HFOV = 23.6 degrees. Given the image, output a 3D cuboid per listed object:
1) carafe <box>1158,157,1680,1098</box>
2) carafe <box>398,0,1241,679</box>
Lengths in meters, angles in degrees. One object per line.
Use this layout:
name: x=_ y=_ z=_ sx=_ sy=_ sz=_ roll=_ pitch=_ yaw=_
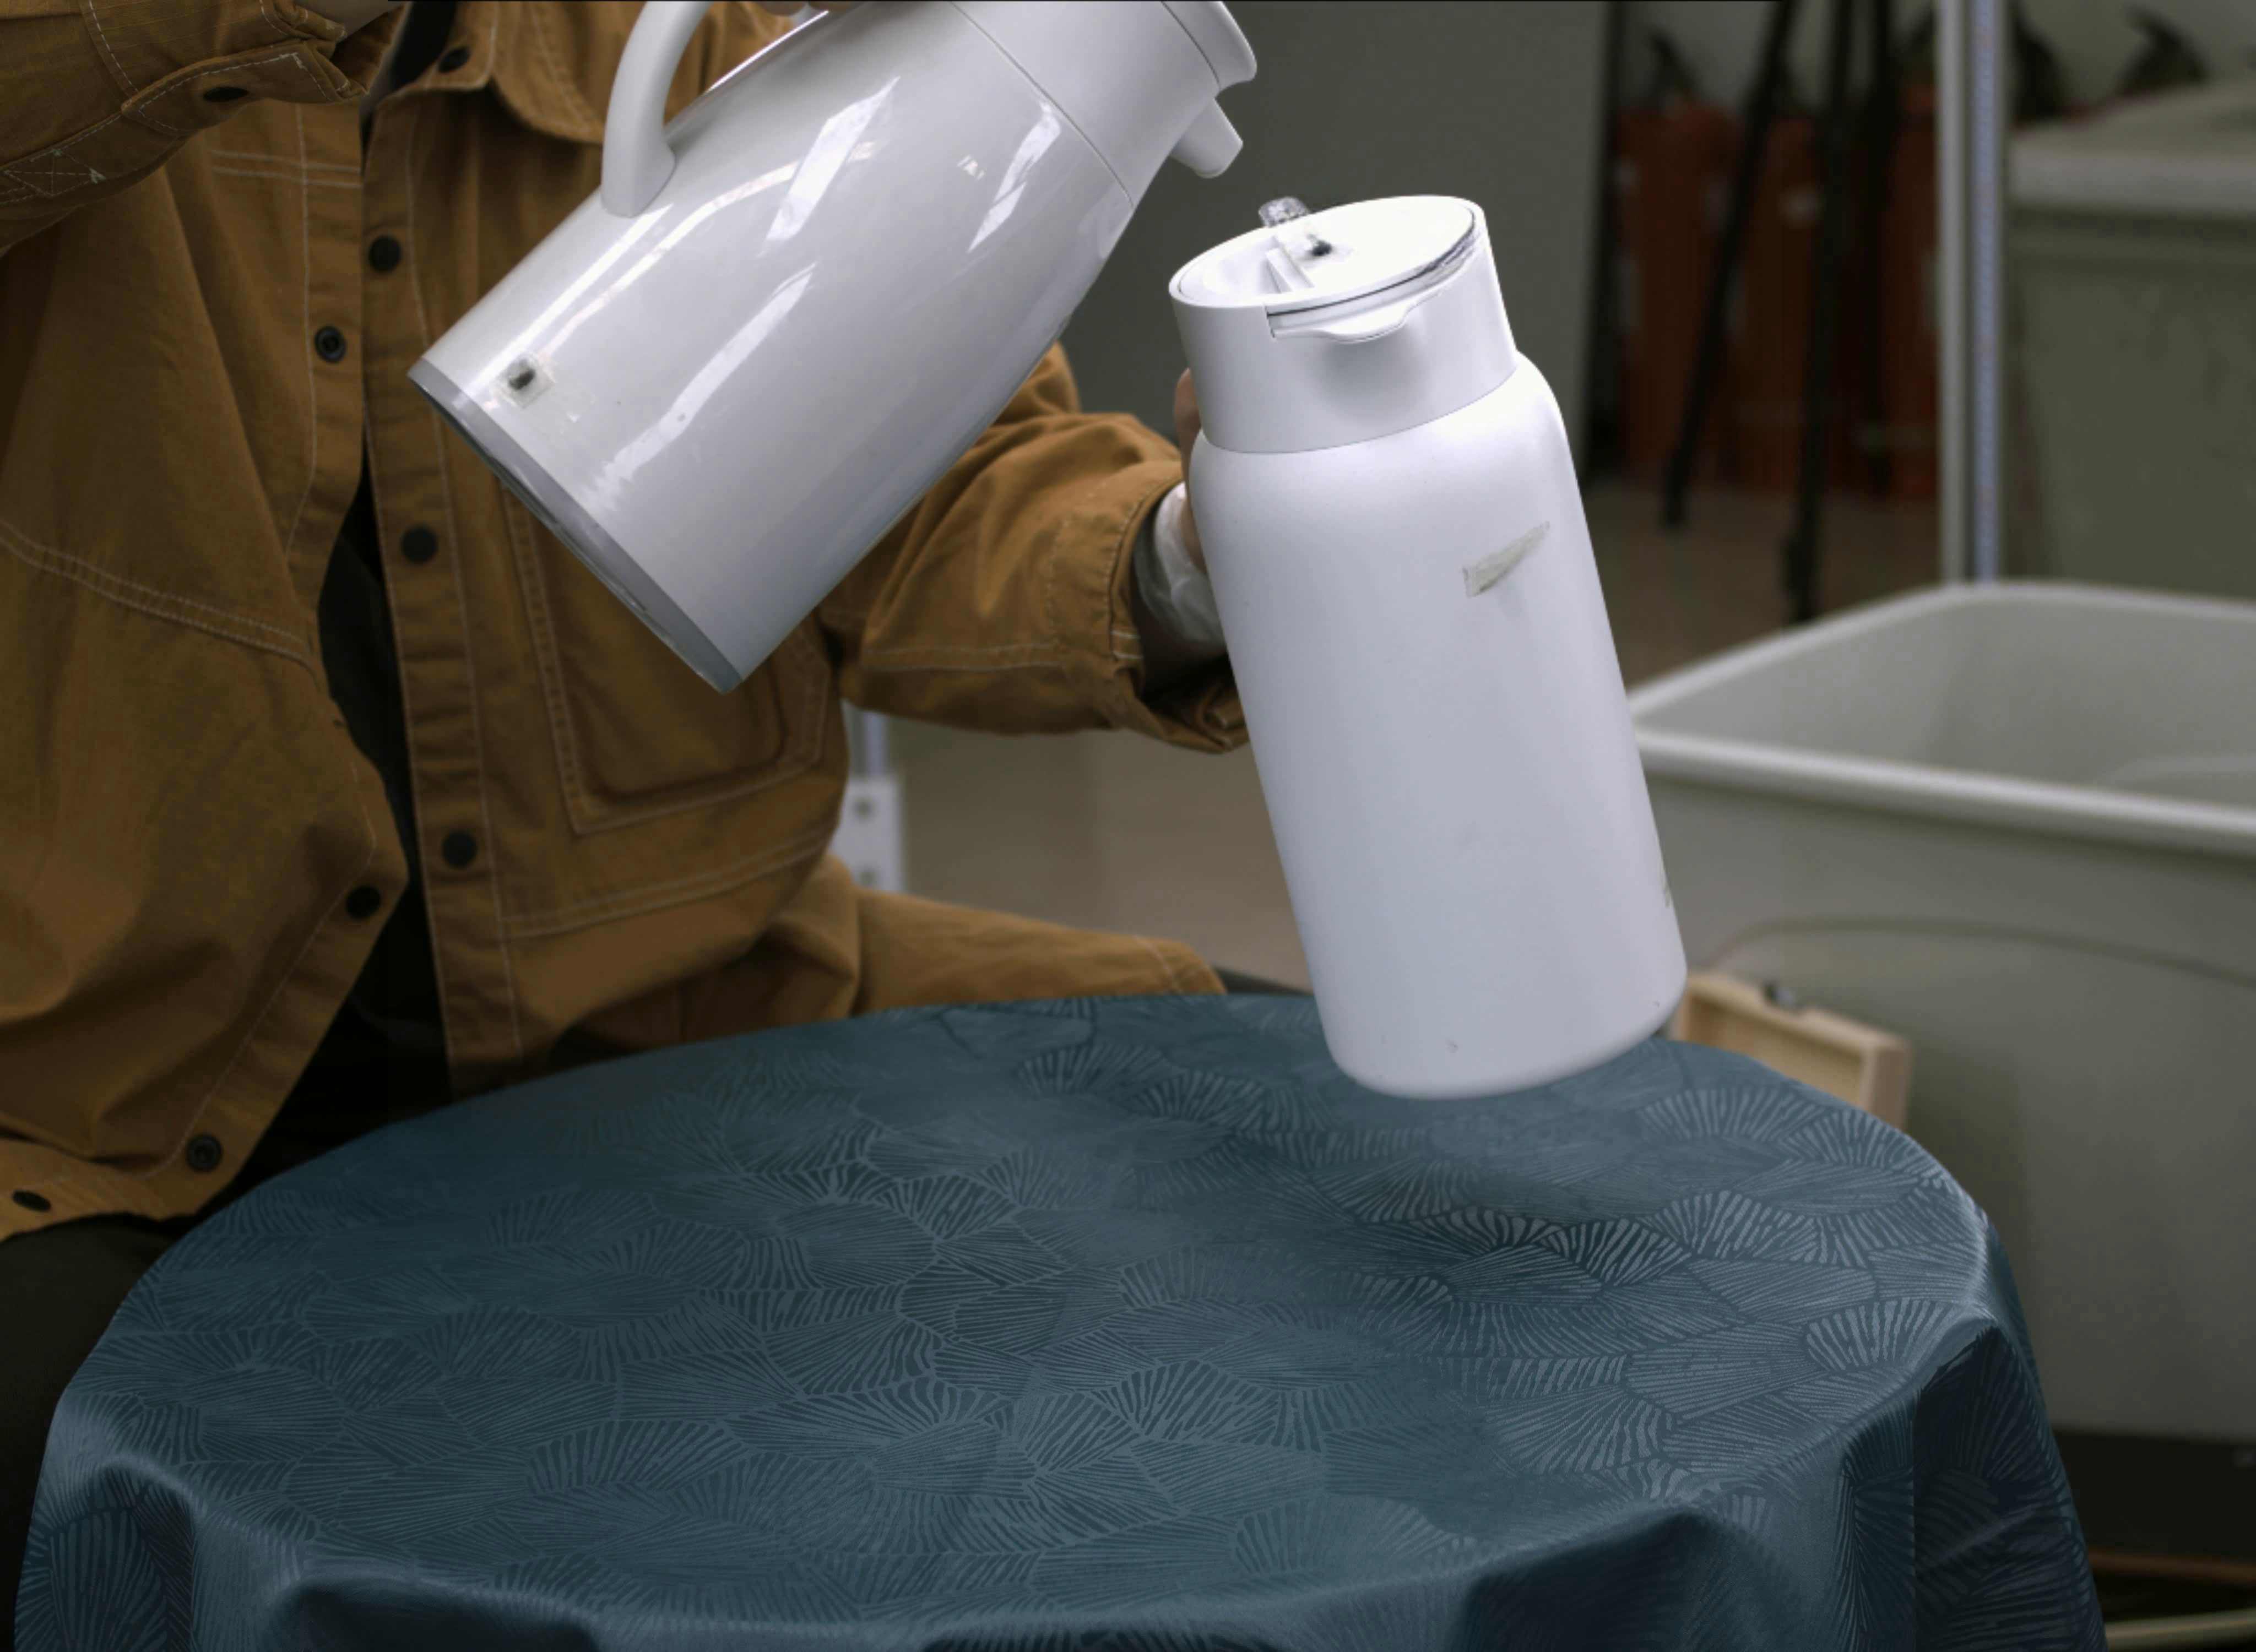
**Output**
carafe: x=0.084 y=-0.064 z=1.674 sx=0.122 sy=0.270 sz=0.174 roll=-18 pitch=19 yaw=-3
carafe: x=-0.089 y=-0.188 z=1.554 sx=0.248 sy=0.166 sz=0.134 roll=-46 pitch=33 yaw=-3
